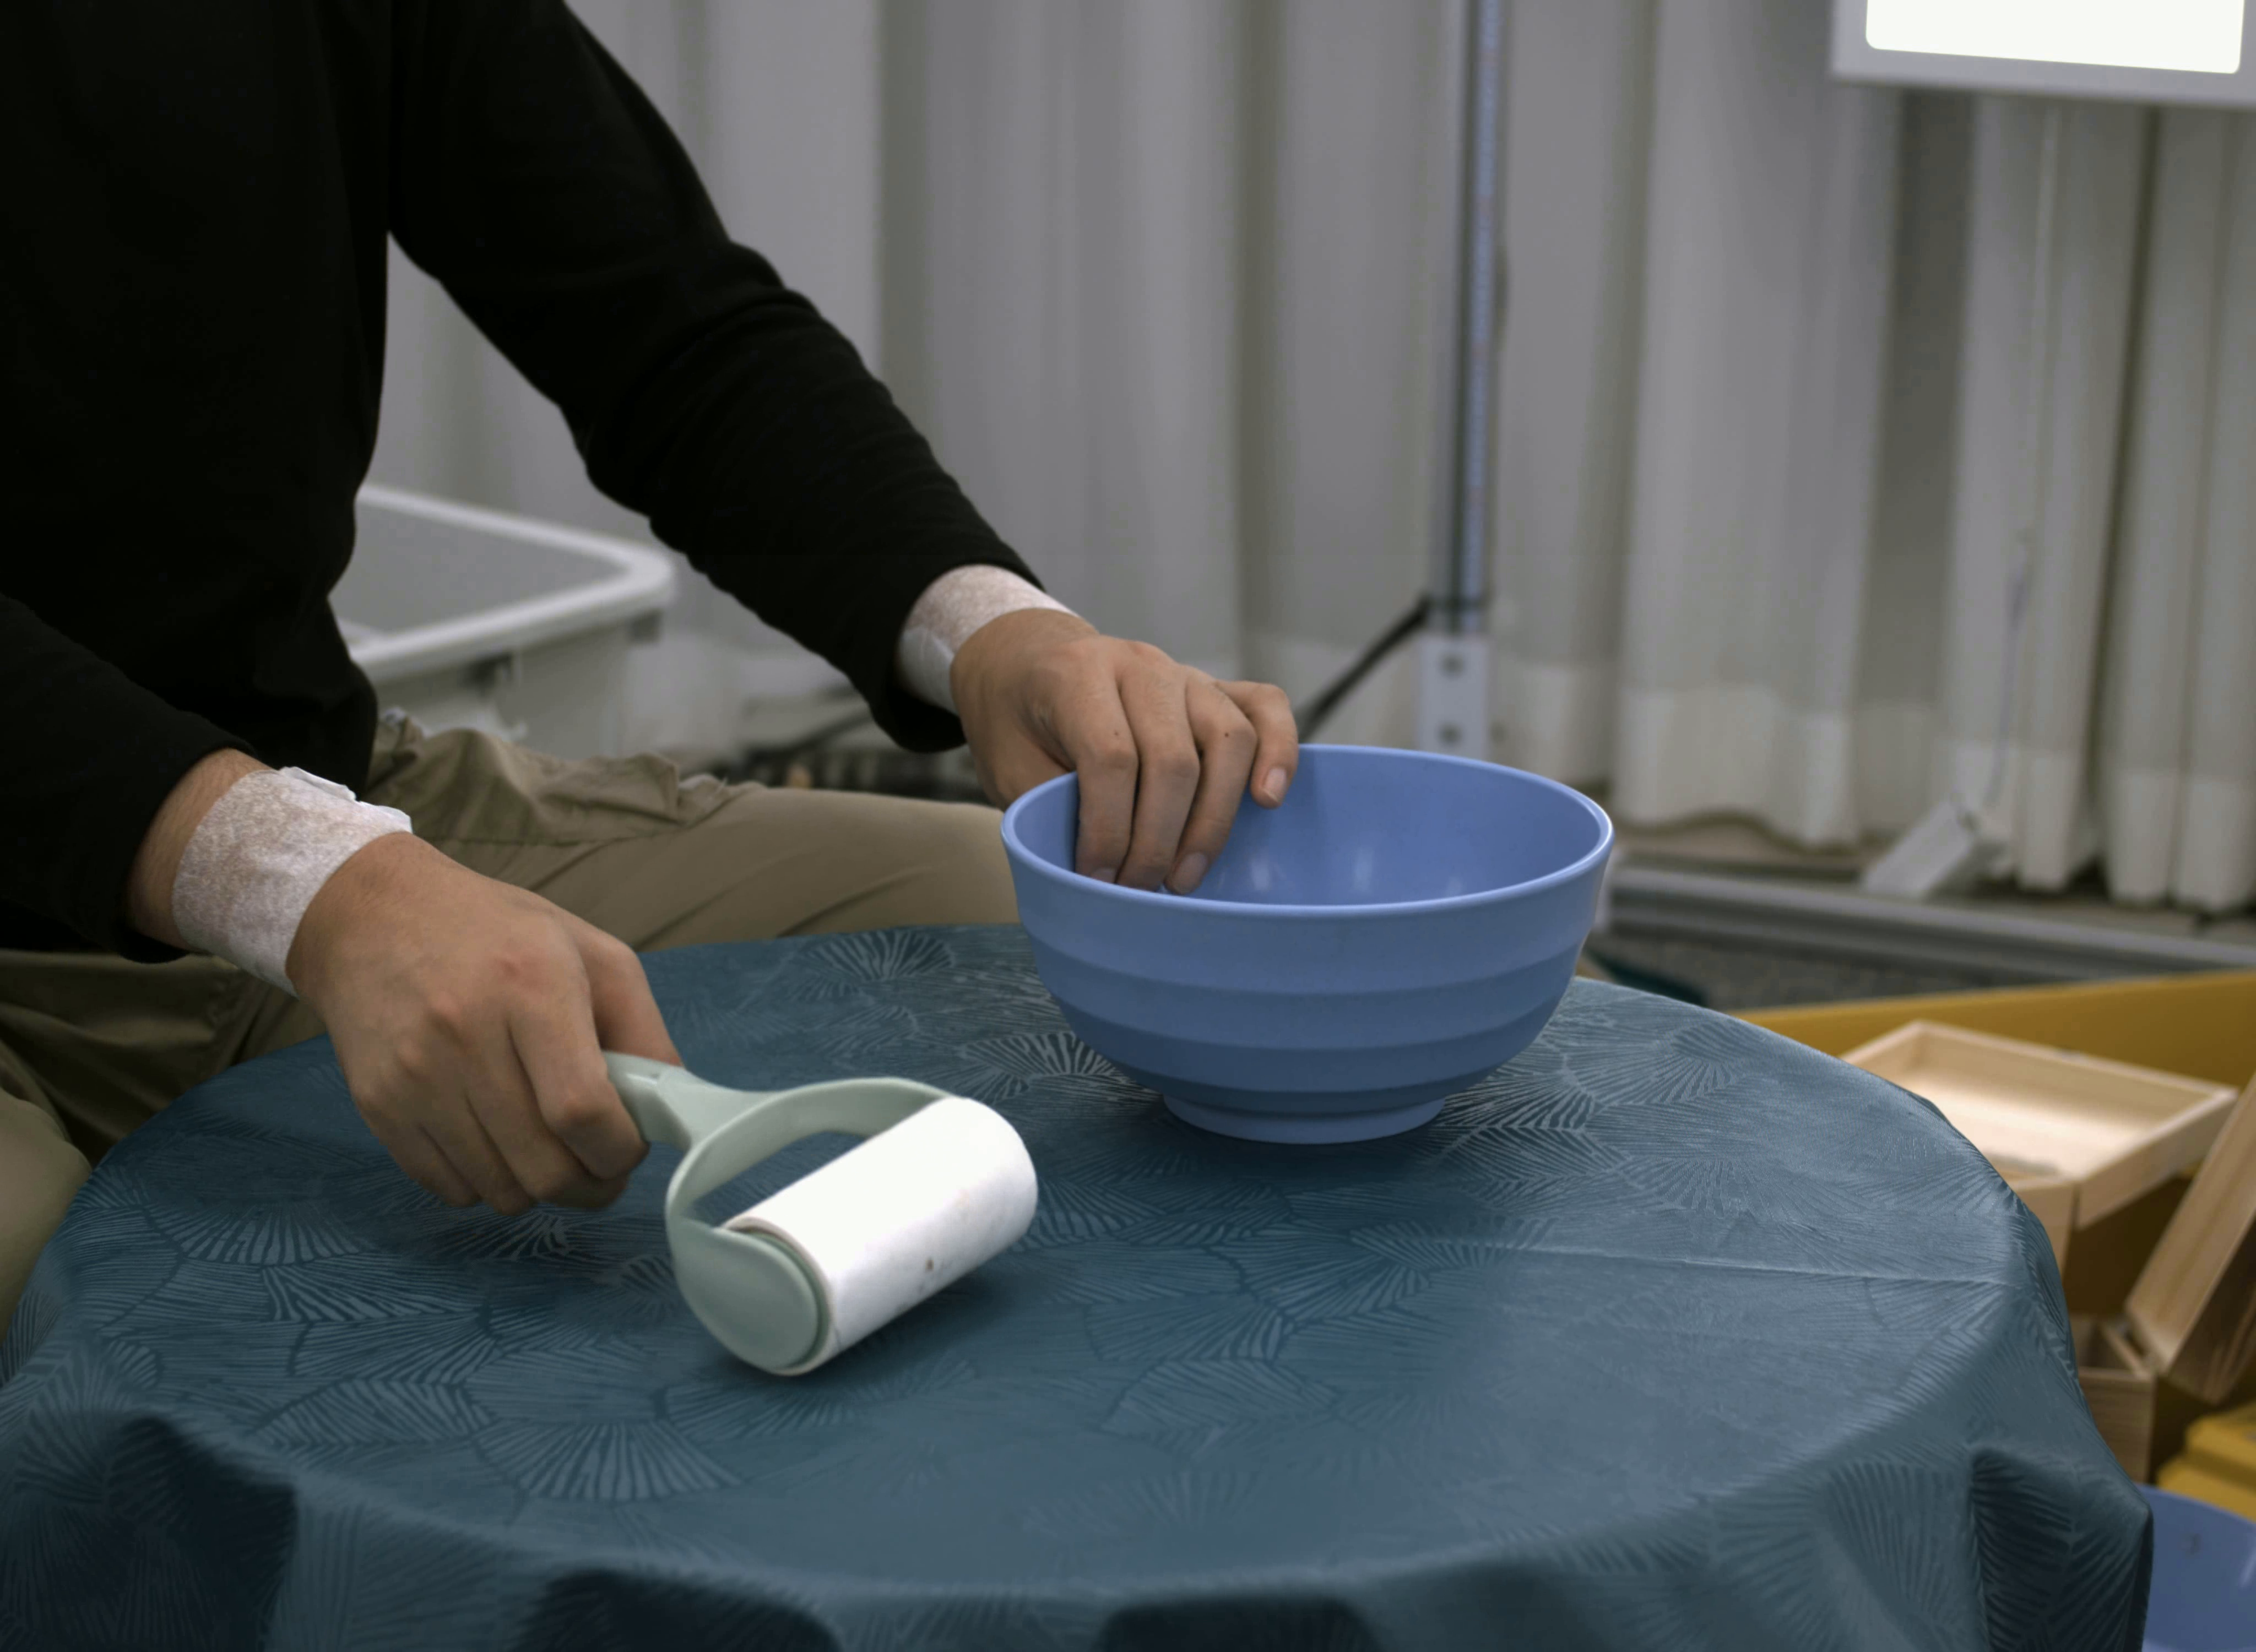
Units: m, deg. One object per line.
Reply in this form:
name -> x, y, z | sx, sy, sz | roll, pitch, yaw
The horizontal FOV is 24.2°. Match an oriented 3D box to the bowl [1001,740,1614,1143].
bowl -> 0.058, 0.042, 1.694 | 0.196, 0.096, 0.195 | 0, 17, 1

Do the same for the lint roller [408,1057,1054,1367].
lint roller -> -0.128, 0.094, 1.538 | 0.195, 0.049, 0.117 | 19, 28, 27
